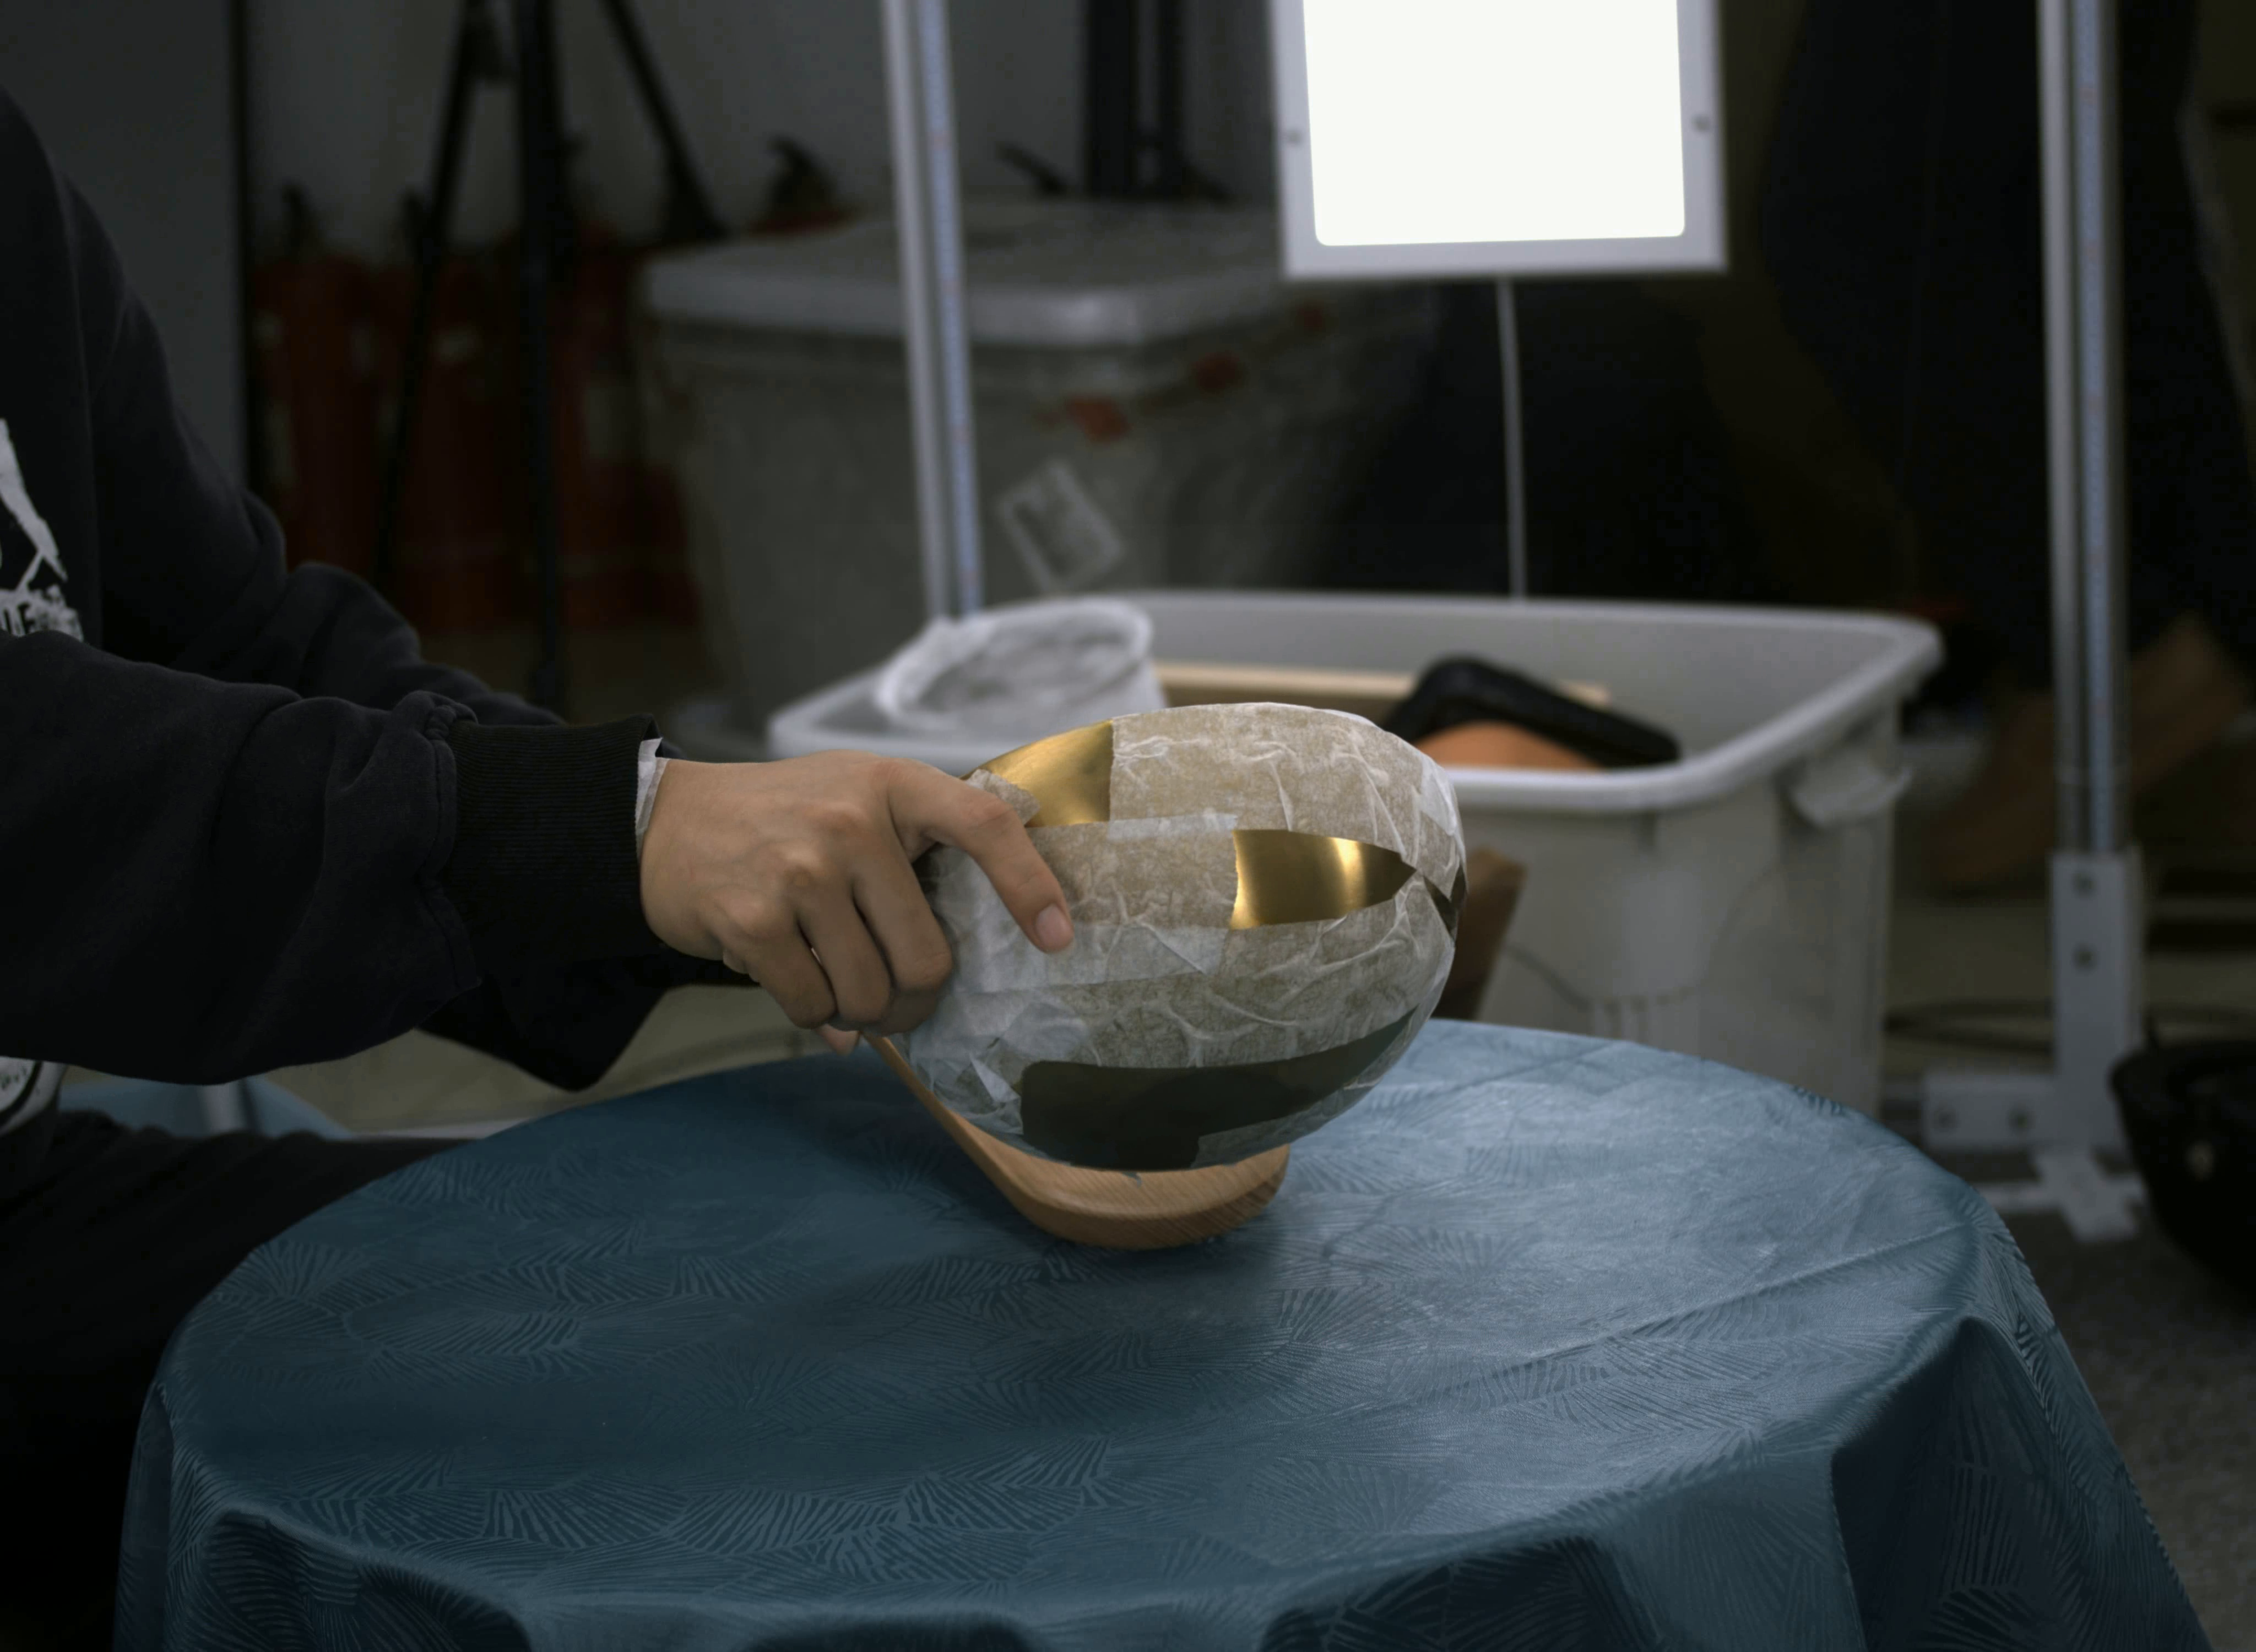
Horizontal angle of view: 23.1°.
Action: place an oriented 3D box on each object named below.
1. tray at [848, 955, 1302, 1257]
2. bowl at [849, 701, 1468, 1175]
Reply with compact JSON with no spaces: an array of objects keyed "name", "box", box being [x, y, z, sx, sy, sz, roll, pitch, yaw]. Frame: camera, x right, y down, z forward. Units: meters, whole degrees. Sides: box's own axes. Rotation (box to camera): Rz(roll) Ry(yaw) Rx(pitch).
[{"name":"tray","box":[-0.020,0.088,1.924,0.100,0.020,0.234,-17,33,-20]},{"name":"bowl","box":[0.015,0.054,1.752,0.213,0.095,0.216,-8,-30,-6]}]
